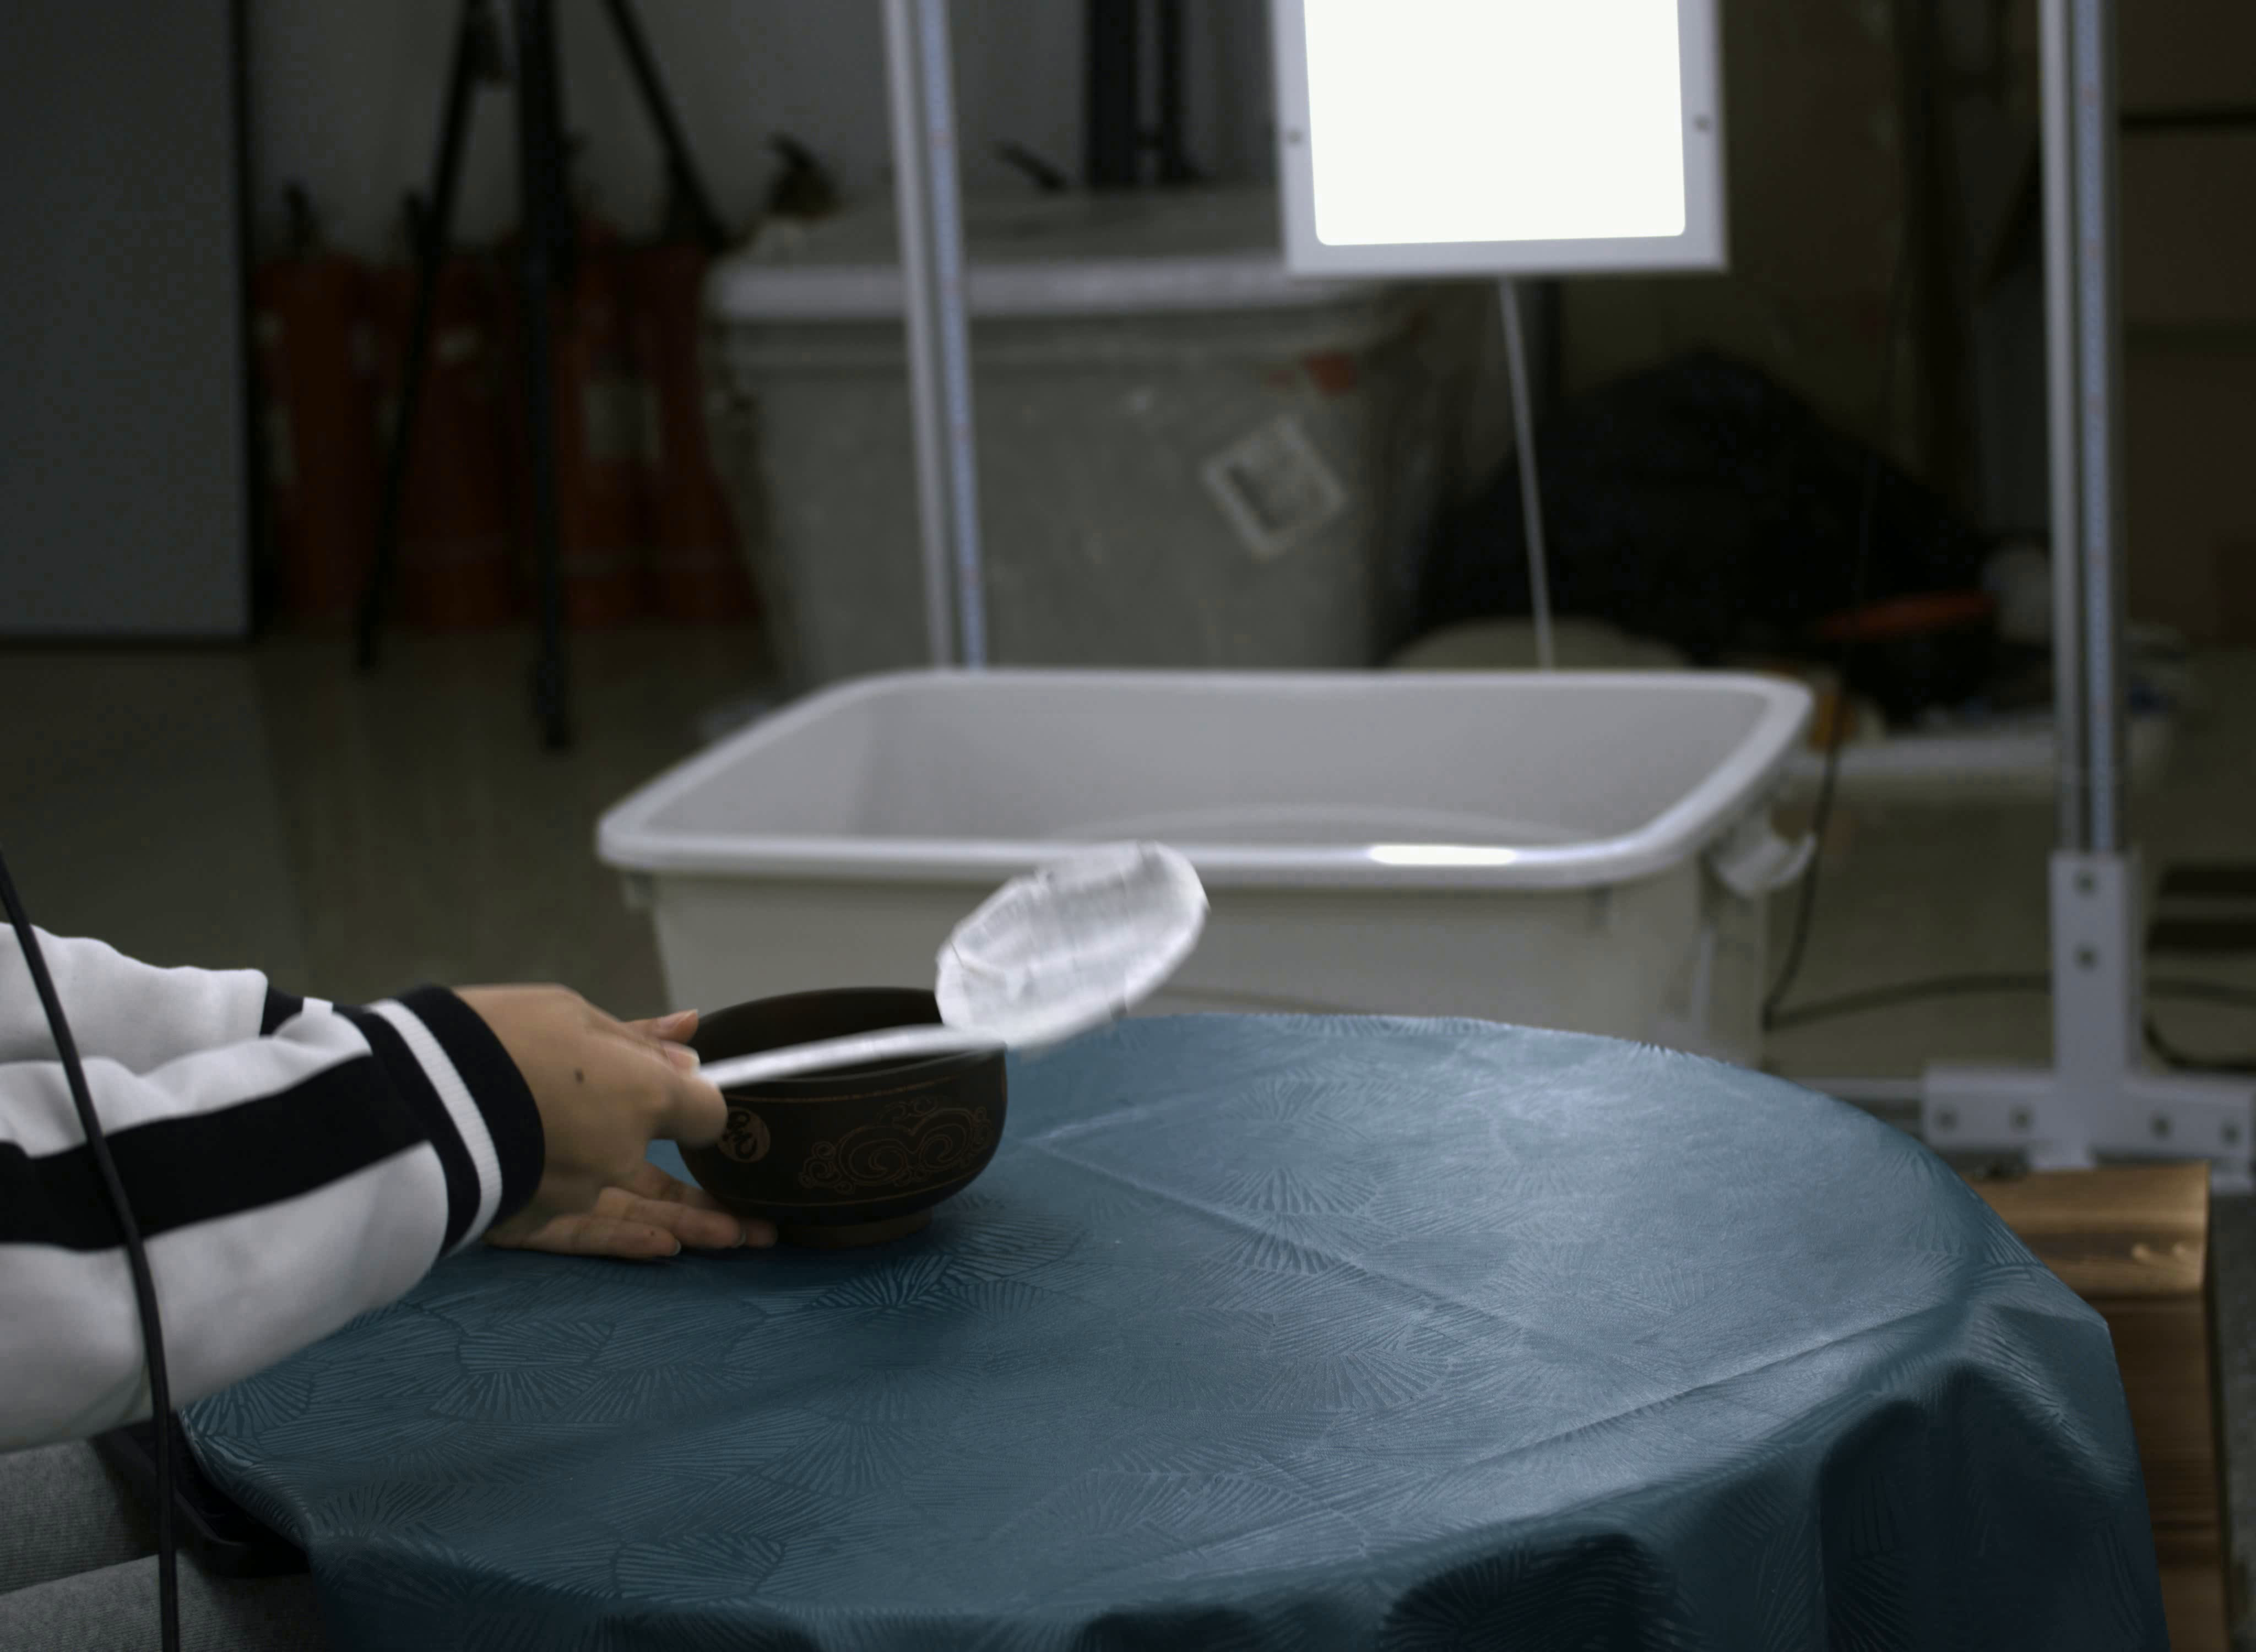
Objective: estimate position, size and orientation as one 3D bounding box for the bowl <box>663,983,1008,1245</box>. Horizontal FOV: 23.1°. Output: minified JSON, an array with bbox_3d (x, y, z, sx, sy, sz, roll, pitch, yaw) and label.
[{"bbox_3d":[-0.098,0.102,1.883,0.118,0.070,0.118,-5,14,0],"label":"bowl"}]

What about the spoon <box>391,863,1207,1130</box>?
[{"bbox_3d":[-0.102,0.051,1.706,0.271,0.060,0.102,-5,16,-31],"label":"spoon"}]
